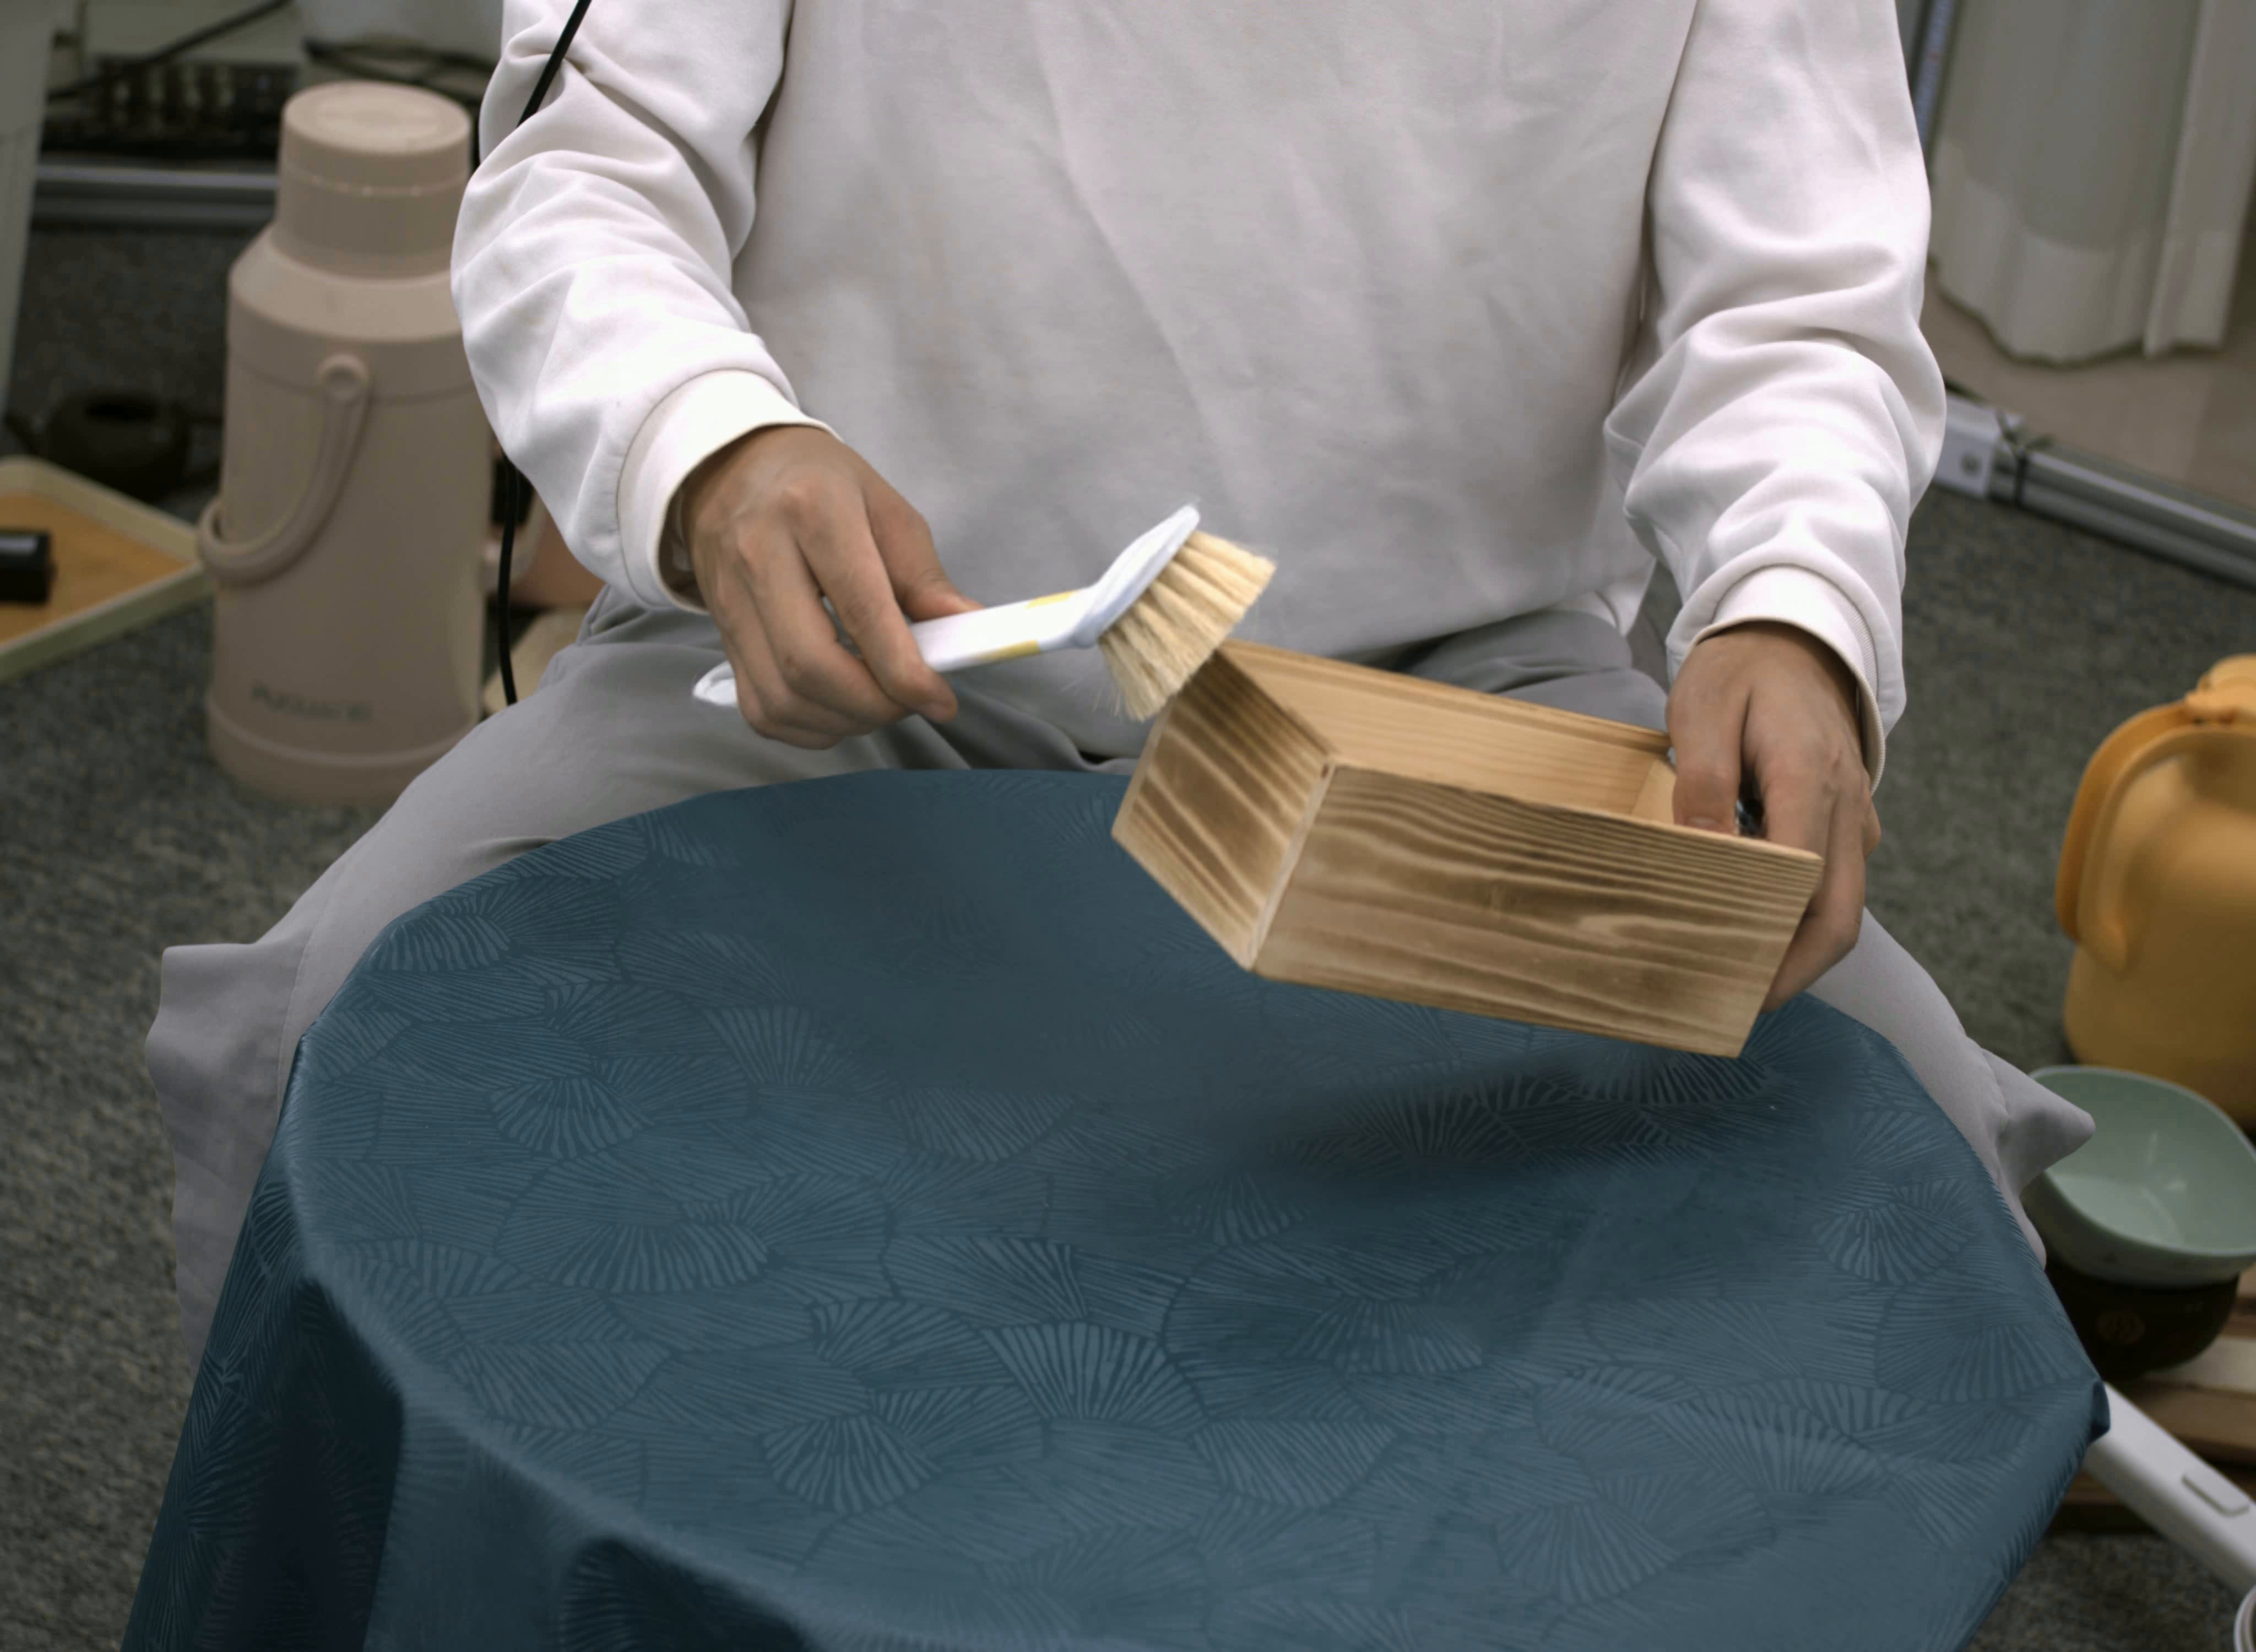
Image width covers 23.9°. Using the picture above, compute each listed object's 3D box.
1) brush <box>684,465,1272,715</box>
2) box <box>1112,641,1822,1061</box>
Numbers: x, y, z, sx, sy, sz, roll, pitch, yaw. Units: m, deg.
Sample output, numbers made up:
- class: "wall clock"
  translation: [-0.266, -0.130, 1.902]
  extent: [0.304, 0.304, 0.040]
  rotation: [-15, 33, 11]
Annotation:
- class: "brush"
  translation: [-0.053, -0.061, 1.841]
  extent: [0.267, 0.056, 0.068]
  rotation: [-19, 21, 44]
- class: "box"
  translation: [0.116, 0.010, 1.823]
  extent: [0.209, 0.080, 0.108]
  rotation: [10, 19, -33]
